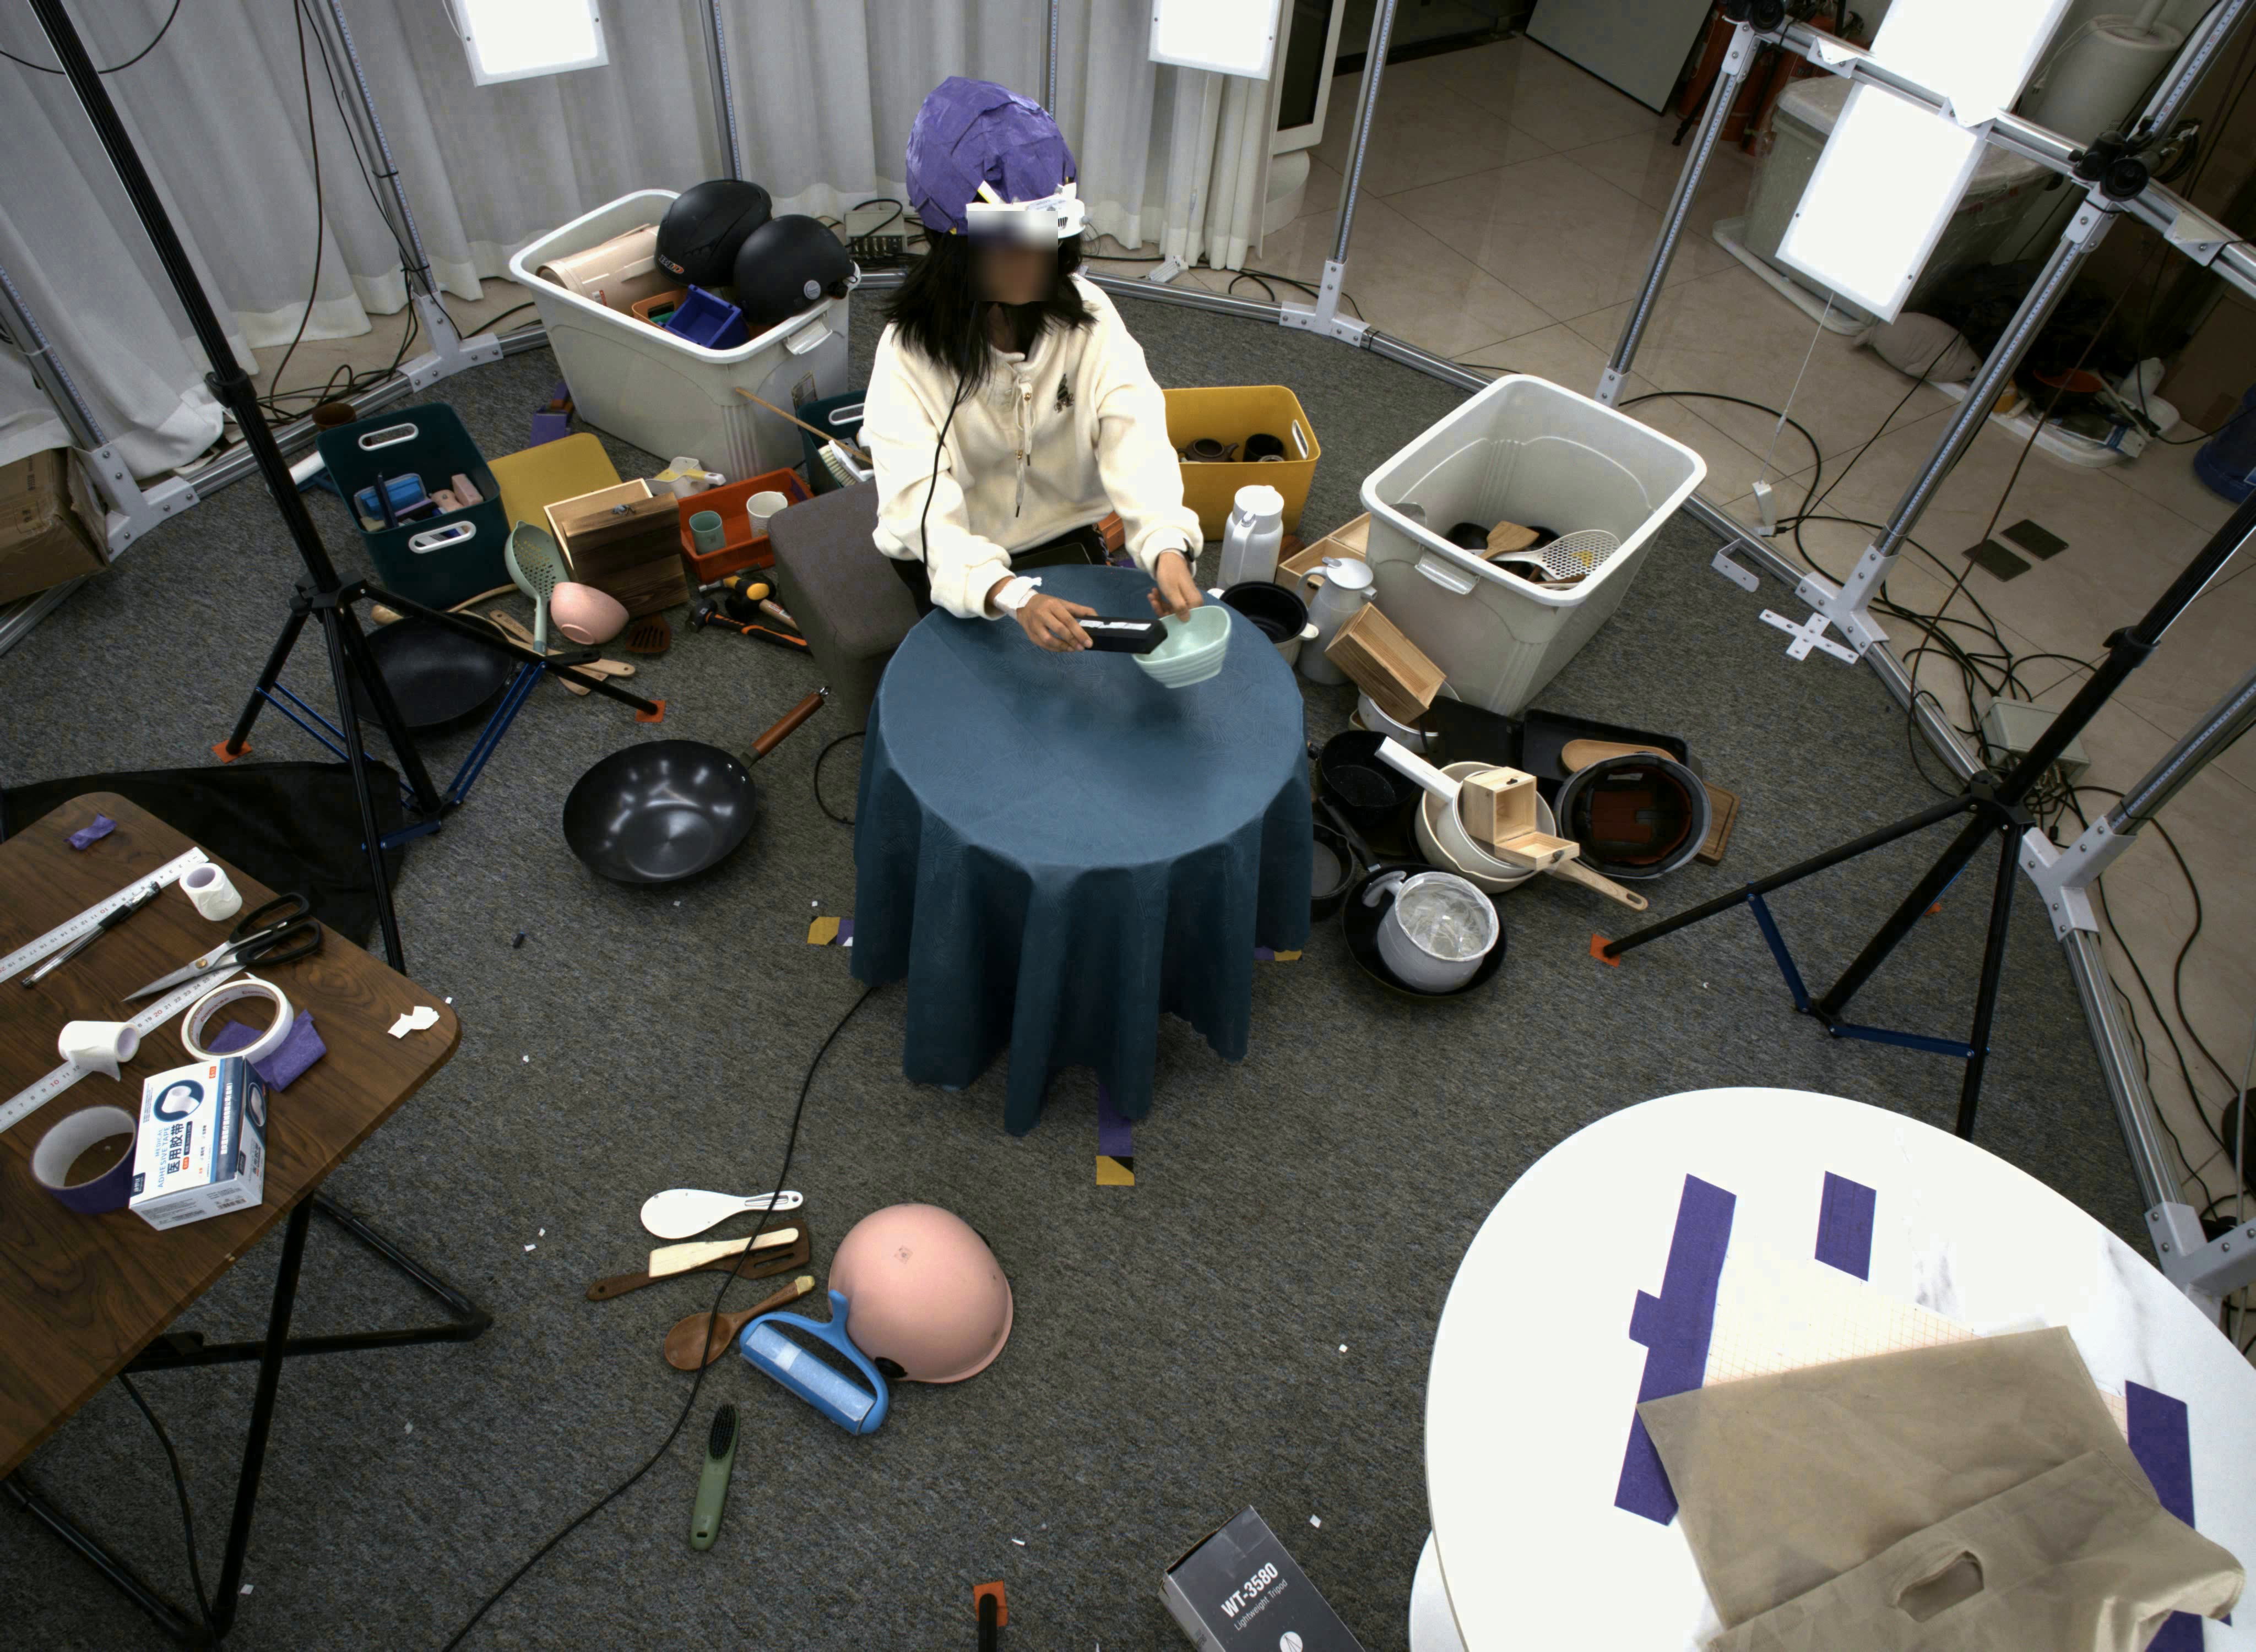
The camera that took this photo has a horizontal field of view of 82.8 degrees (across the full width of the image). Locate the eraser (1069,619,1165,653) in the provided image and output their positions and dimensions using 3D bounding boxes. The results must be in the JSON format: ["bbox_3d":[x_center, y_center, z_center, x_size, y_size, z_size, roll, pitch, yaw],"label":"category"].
[{"bbox_3d":[-0.014,-0.259,1.742,0.126,0.030,0.054,5,36,31],"label":"eraser"}]

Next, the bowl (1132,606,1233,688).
[{"bbox_3d":[0.079,-0.236,1.735,0.151,0.057,0.155,-13,33,8],"label":"bowl"}]
